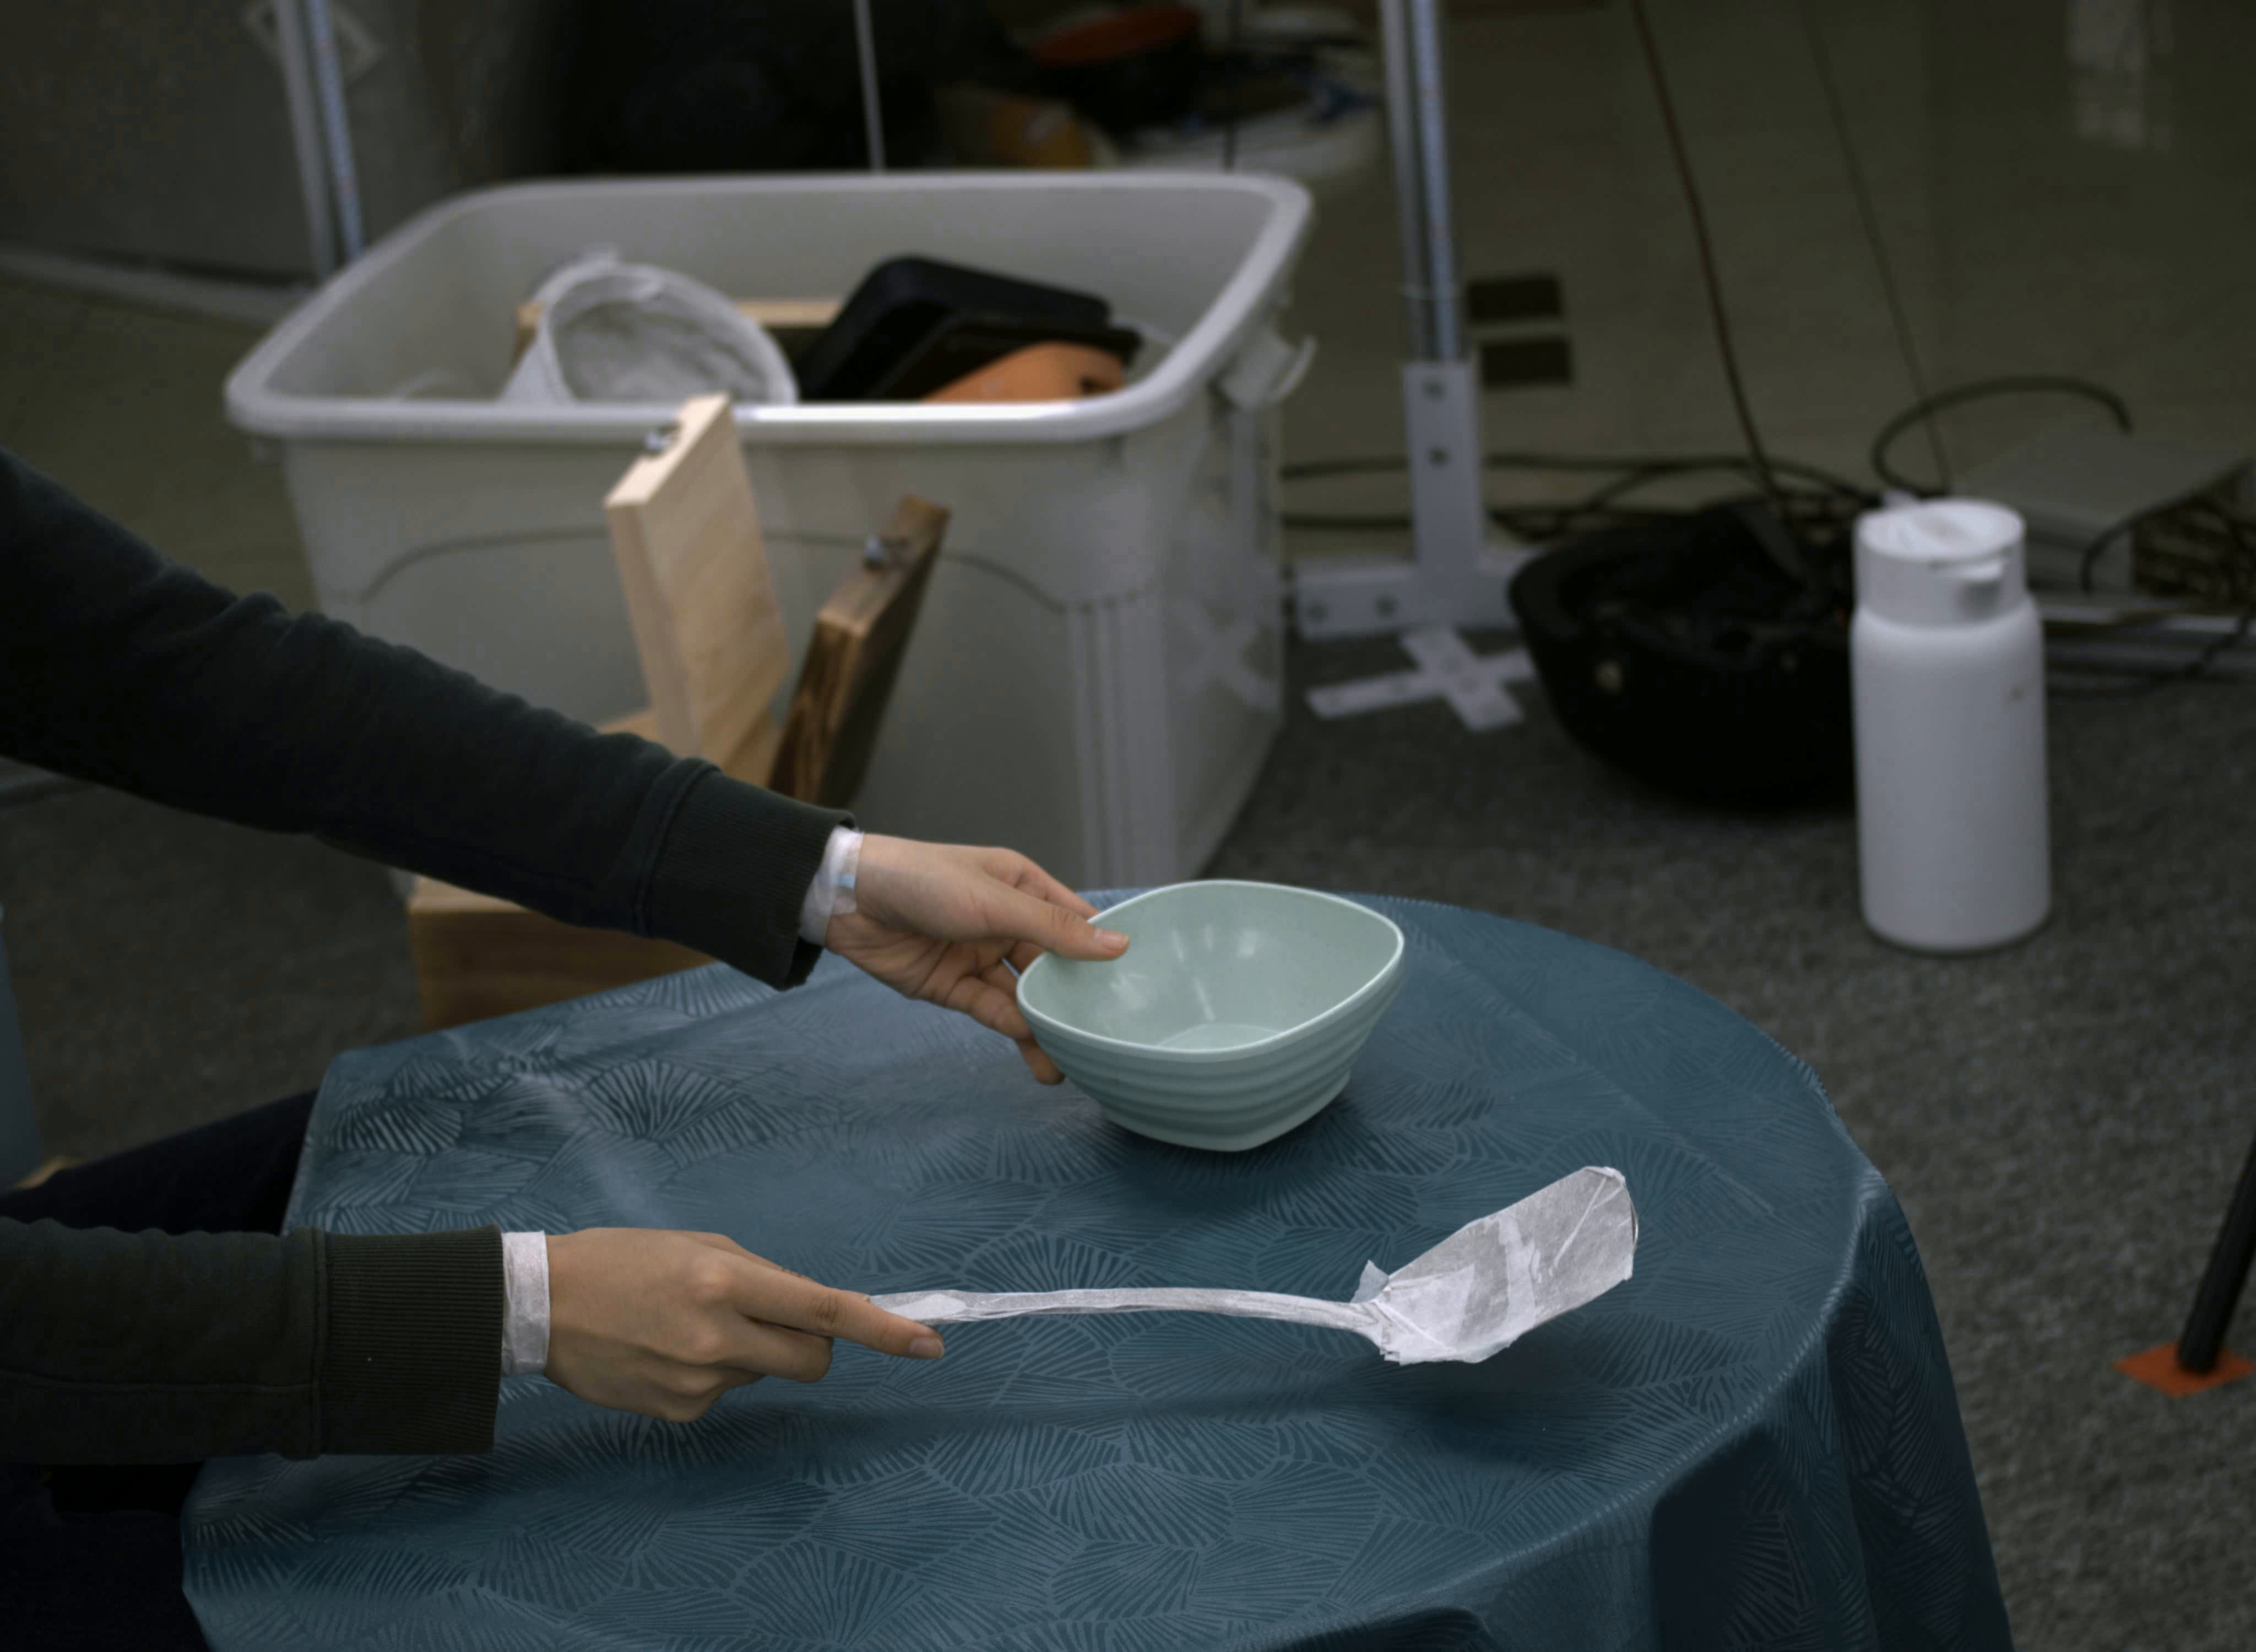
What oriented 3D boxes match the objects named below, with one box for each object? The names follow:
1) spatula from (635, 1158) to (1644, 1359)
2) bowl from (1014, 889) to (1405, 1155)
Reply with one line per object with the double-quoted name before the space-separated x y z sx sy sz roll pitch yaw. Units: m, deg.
"spatula" 0.000 0.162 2.003 0.364 0.045 0.097 -2 27 6
"bowl" 0.033 0.080 2.189 0.151 0.059 0.149 -4 24 2
